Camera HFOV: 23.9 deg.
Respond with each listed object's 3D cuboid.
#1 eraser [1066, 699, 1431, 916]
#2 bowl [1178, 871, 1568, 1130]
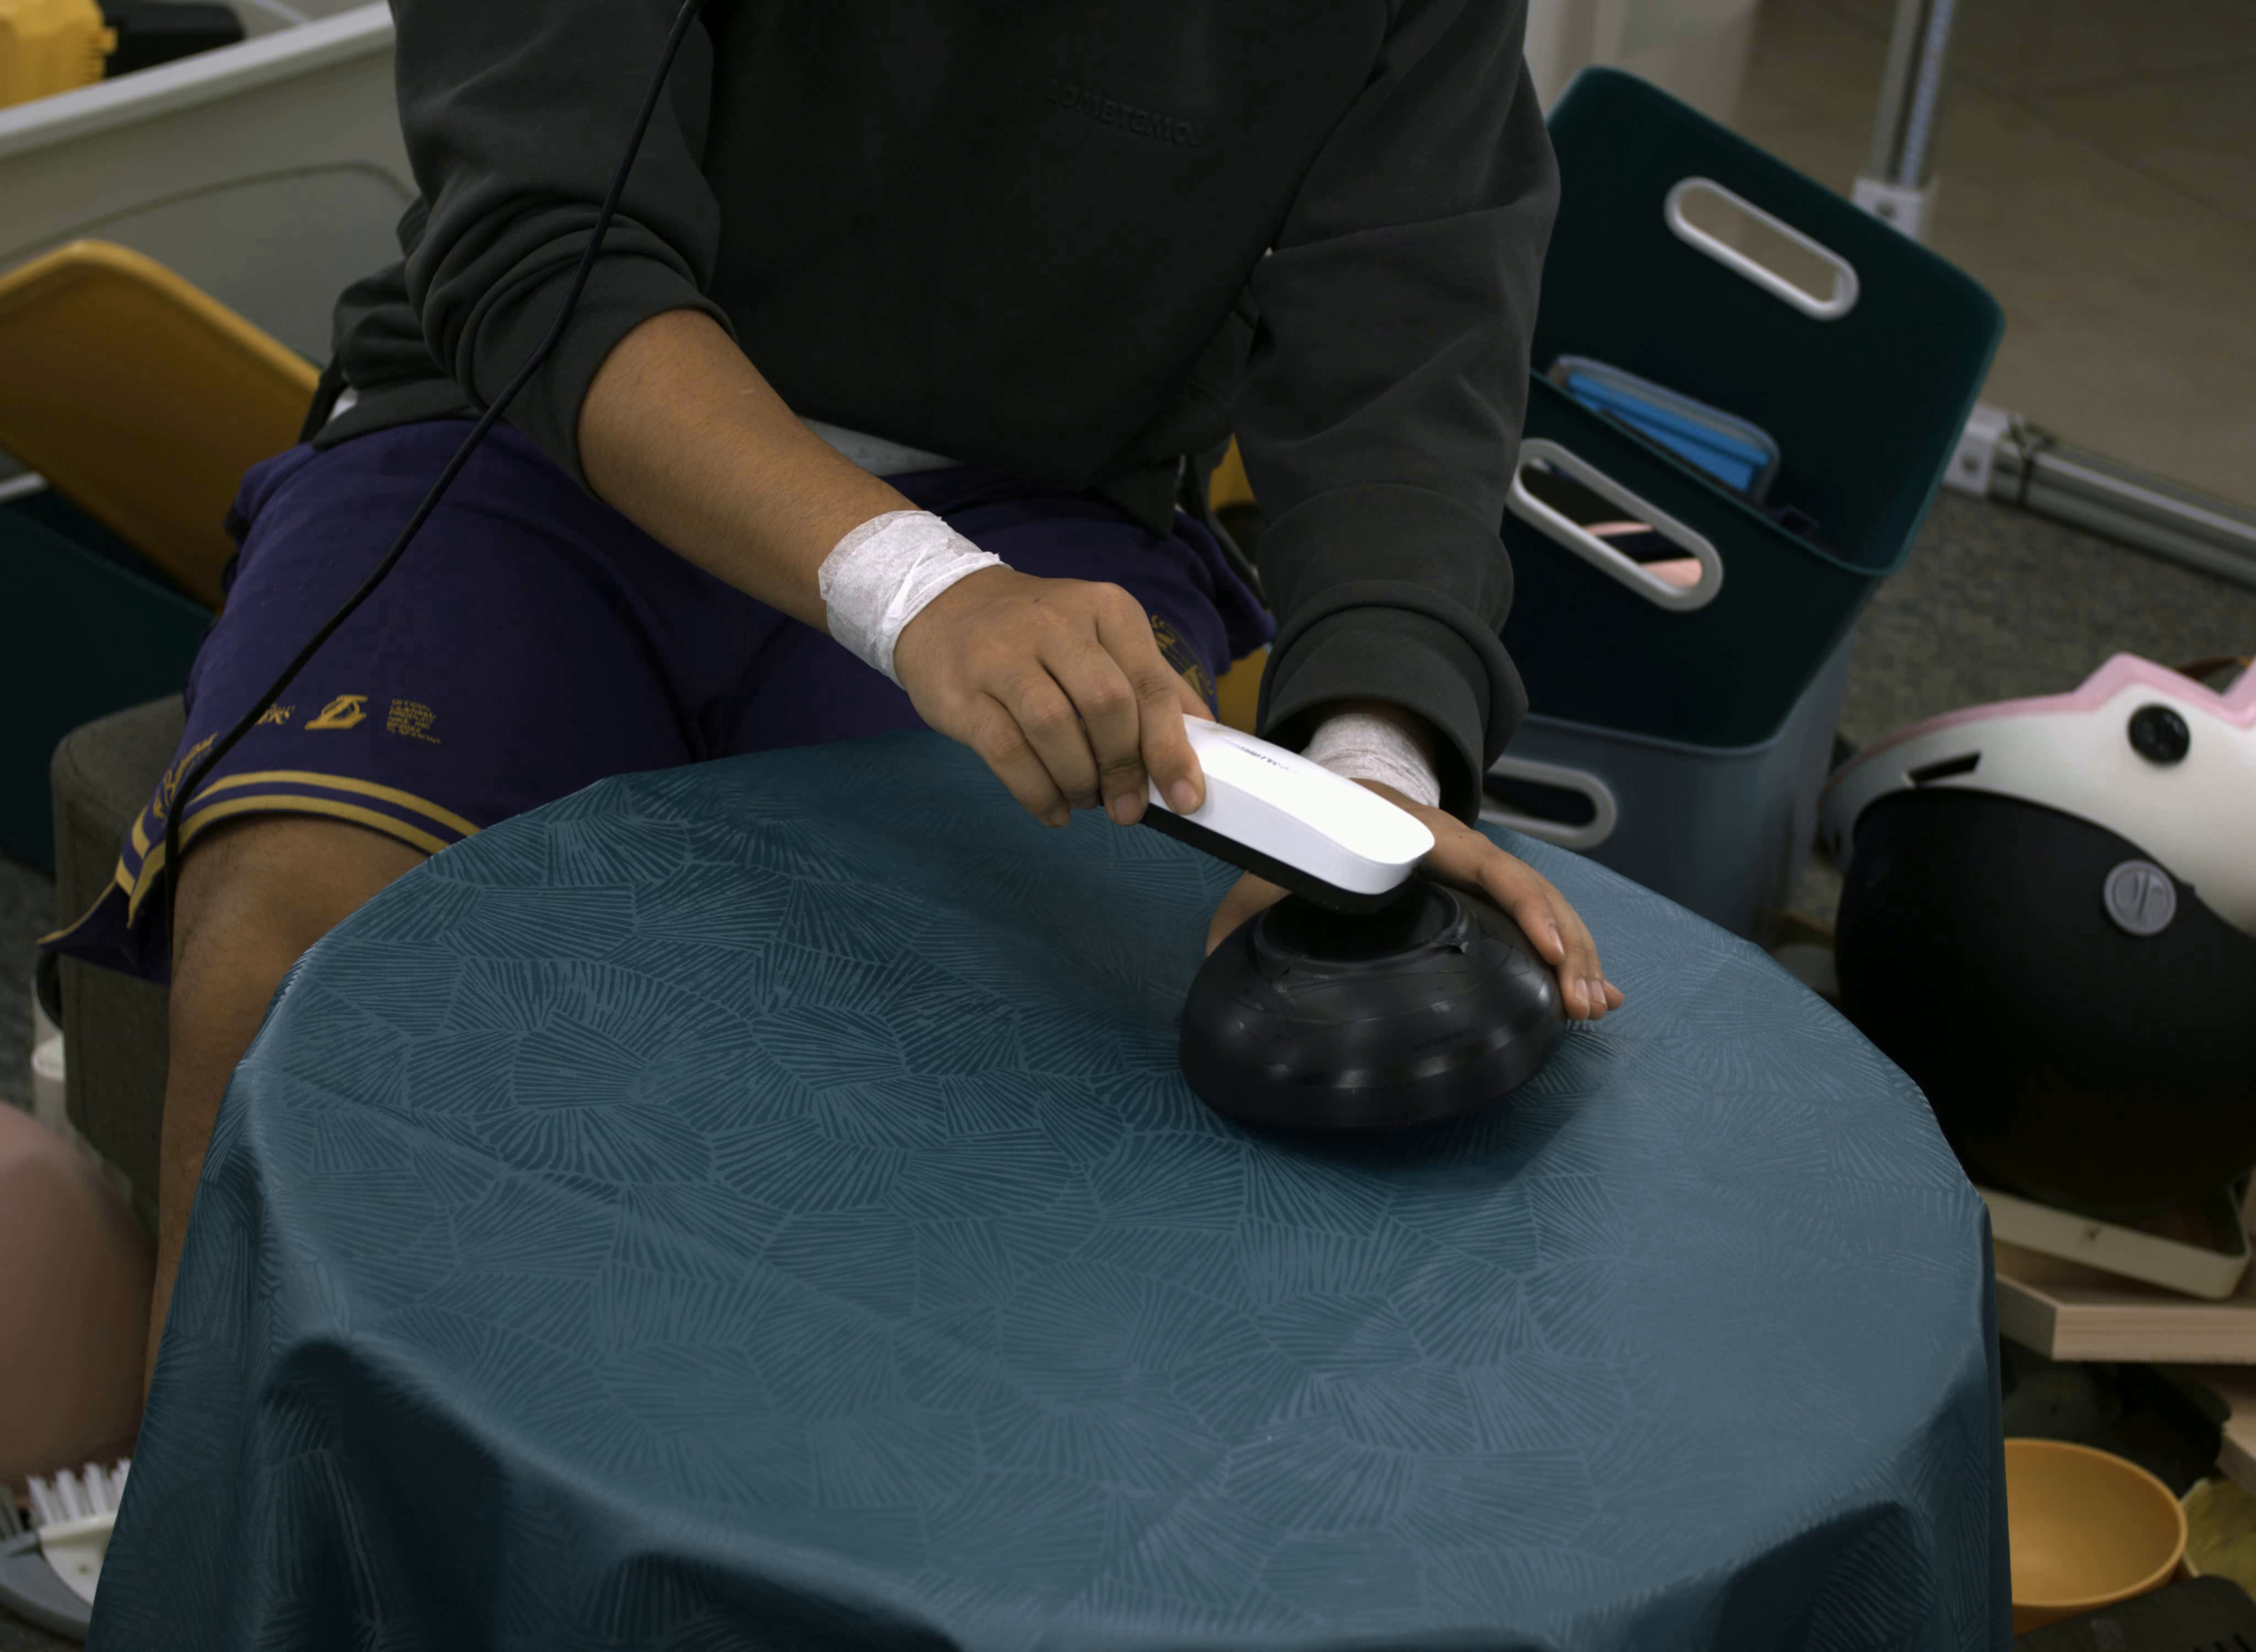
[{"bbox_3d":[0.043,-0.011,1.884,0.132,0.034,0.063,27,20,23],"label":"eraser"},{"bbox_3d":[0.083,0.052,1.872,0.140,0.049,0.141,-7,26,3],"label":"bowl"}]
